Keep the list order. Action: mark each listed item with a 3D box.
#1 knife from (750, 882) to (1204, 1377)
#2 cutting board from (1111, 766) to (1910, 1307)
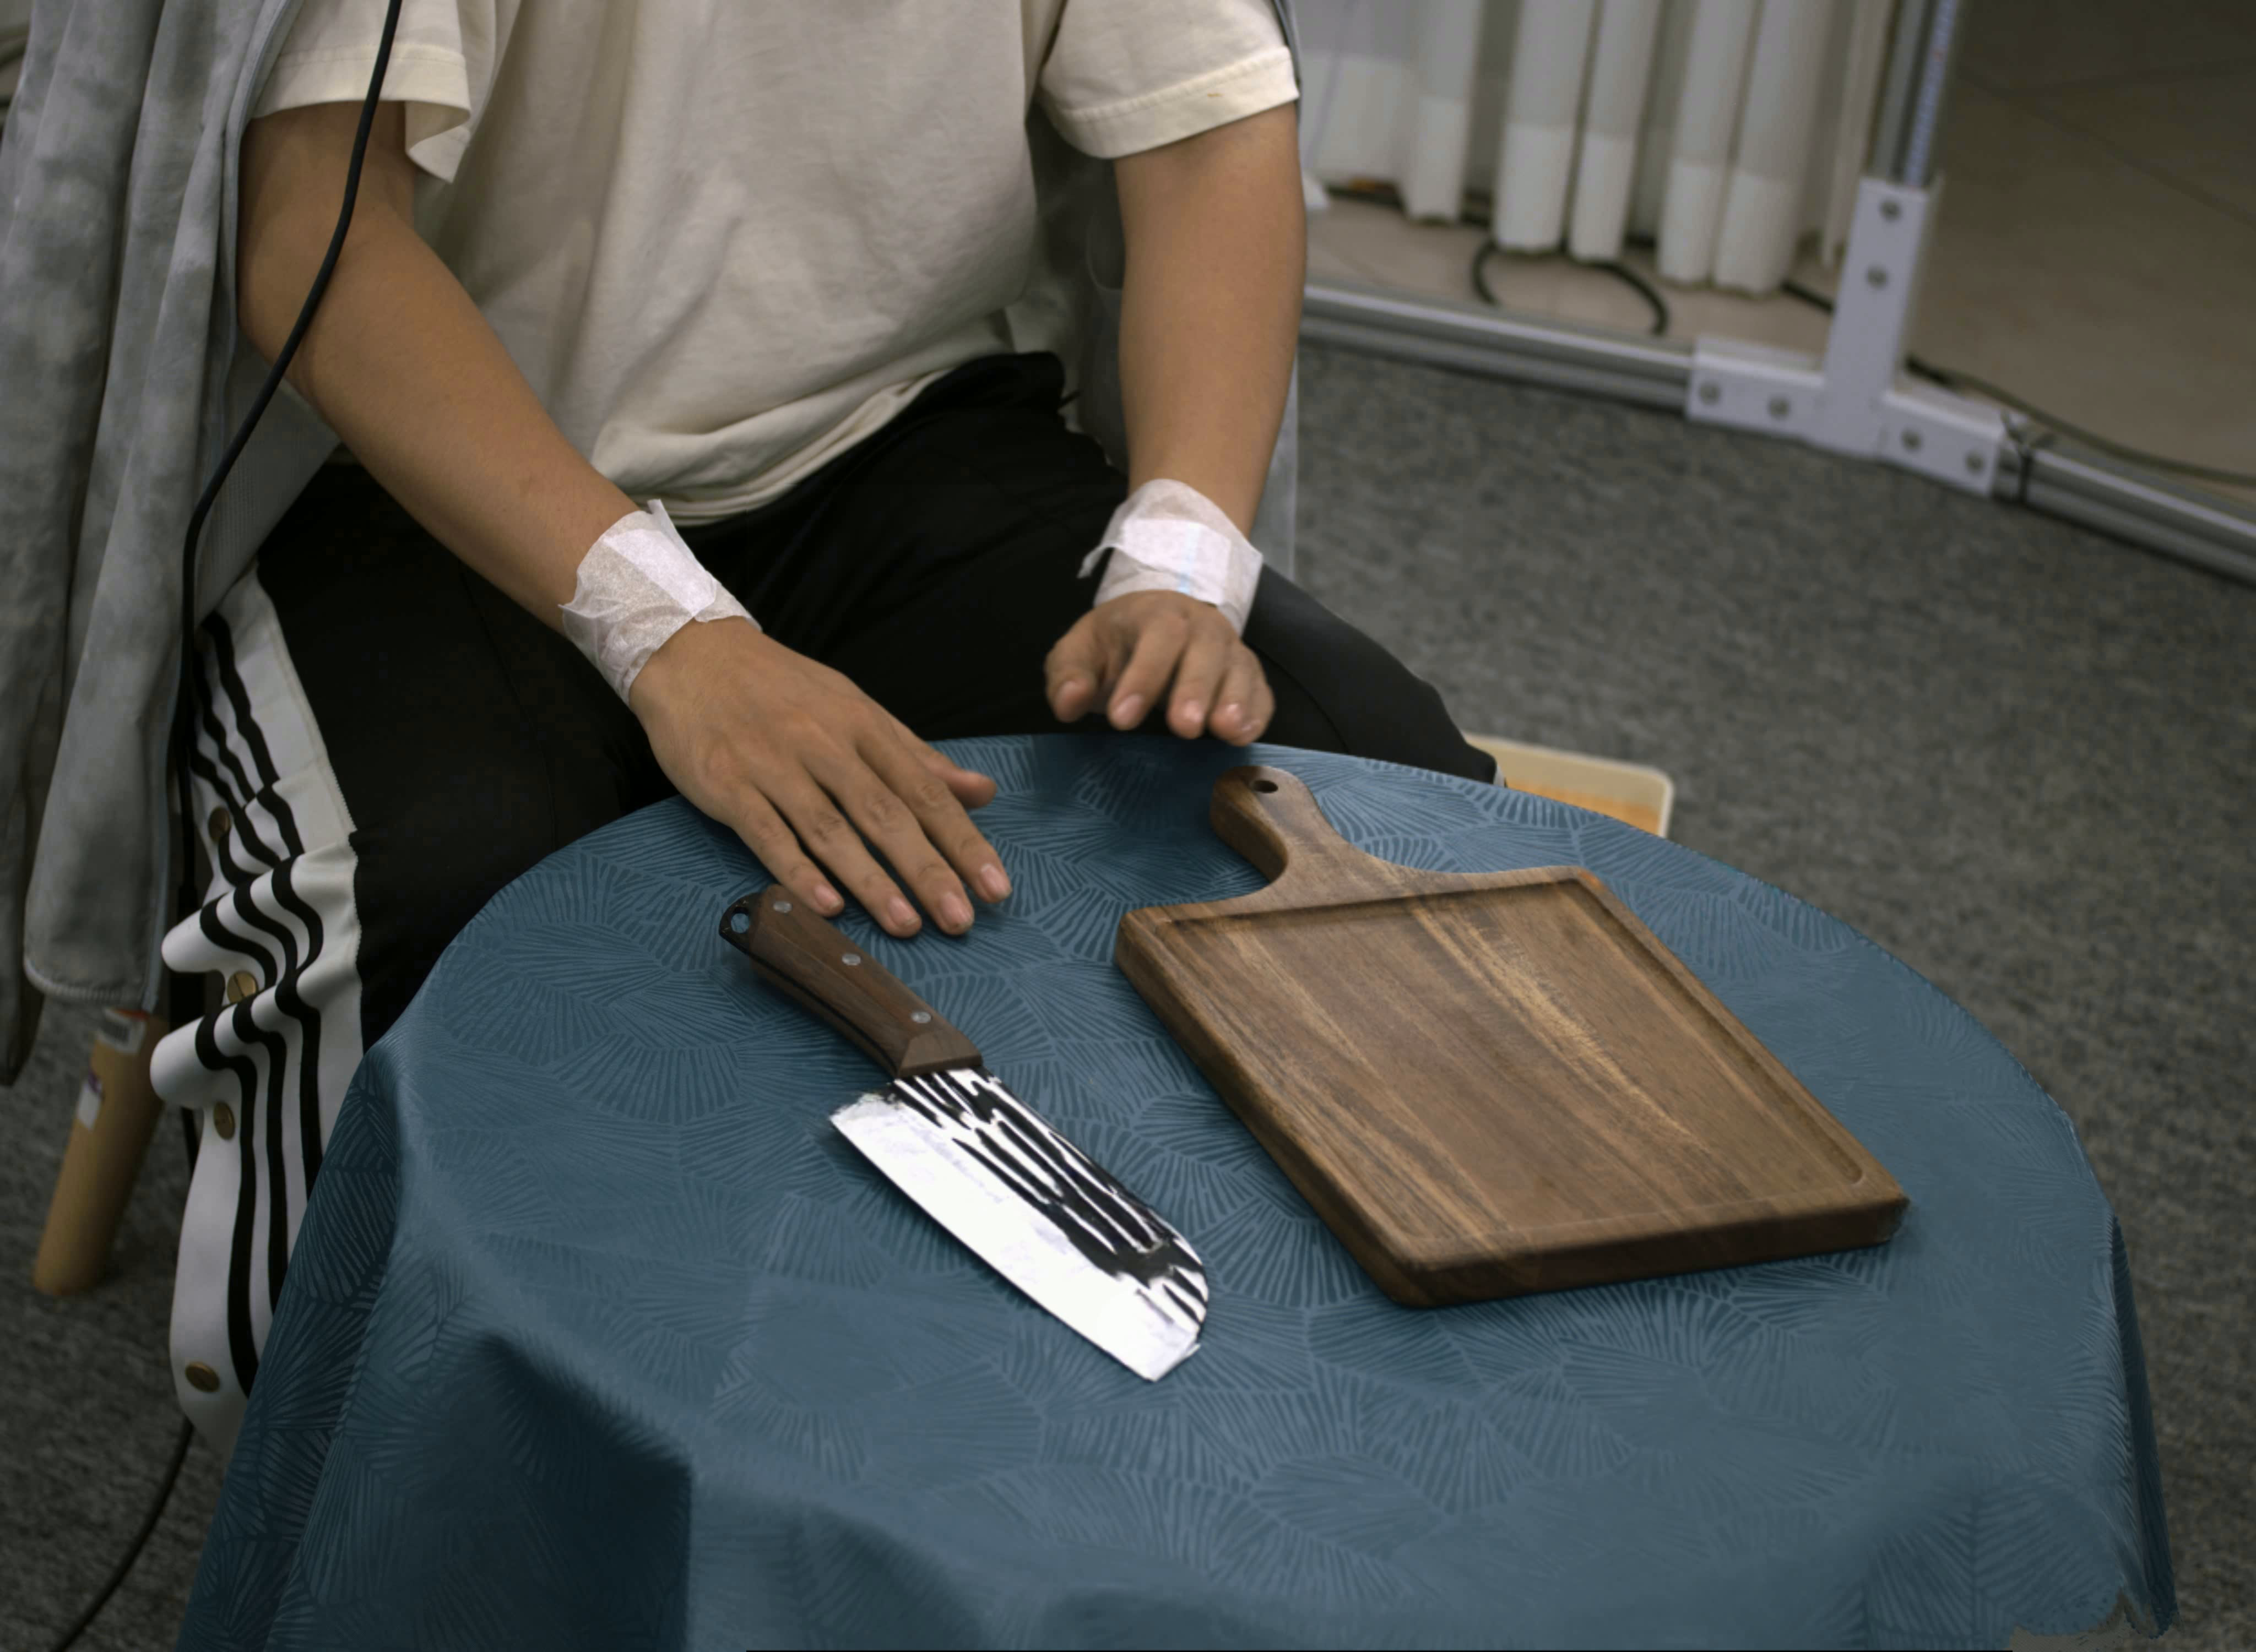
[{"bbox_3d":[-0.062,0.102,1.813,0.068,0.024,0.302,-14,36,-33],"label":"knife"},{"bbox_3d":[0.112,0.064,1.925,0.200,0.023,0.355,-6,29,-23],"label":"cutting board"}]
